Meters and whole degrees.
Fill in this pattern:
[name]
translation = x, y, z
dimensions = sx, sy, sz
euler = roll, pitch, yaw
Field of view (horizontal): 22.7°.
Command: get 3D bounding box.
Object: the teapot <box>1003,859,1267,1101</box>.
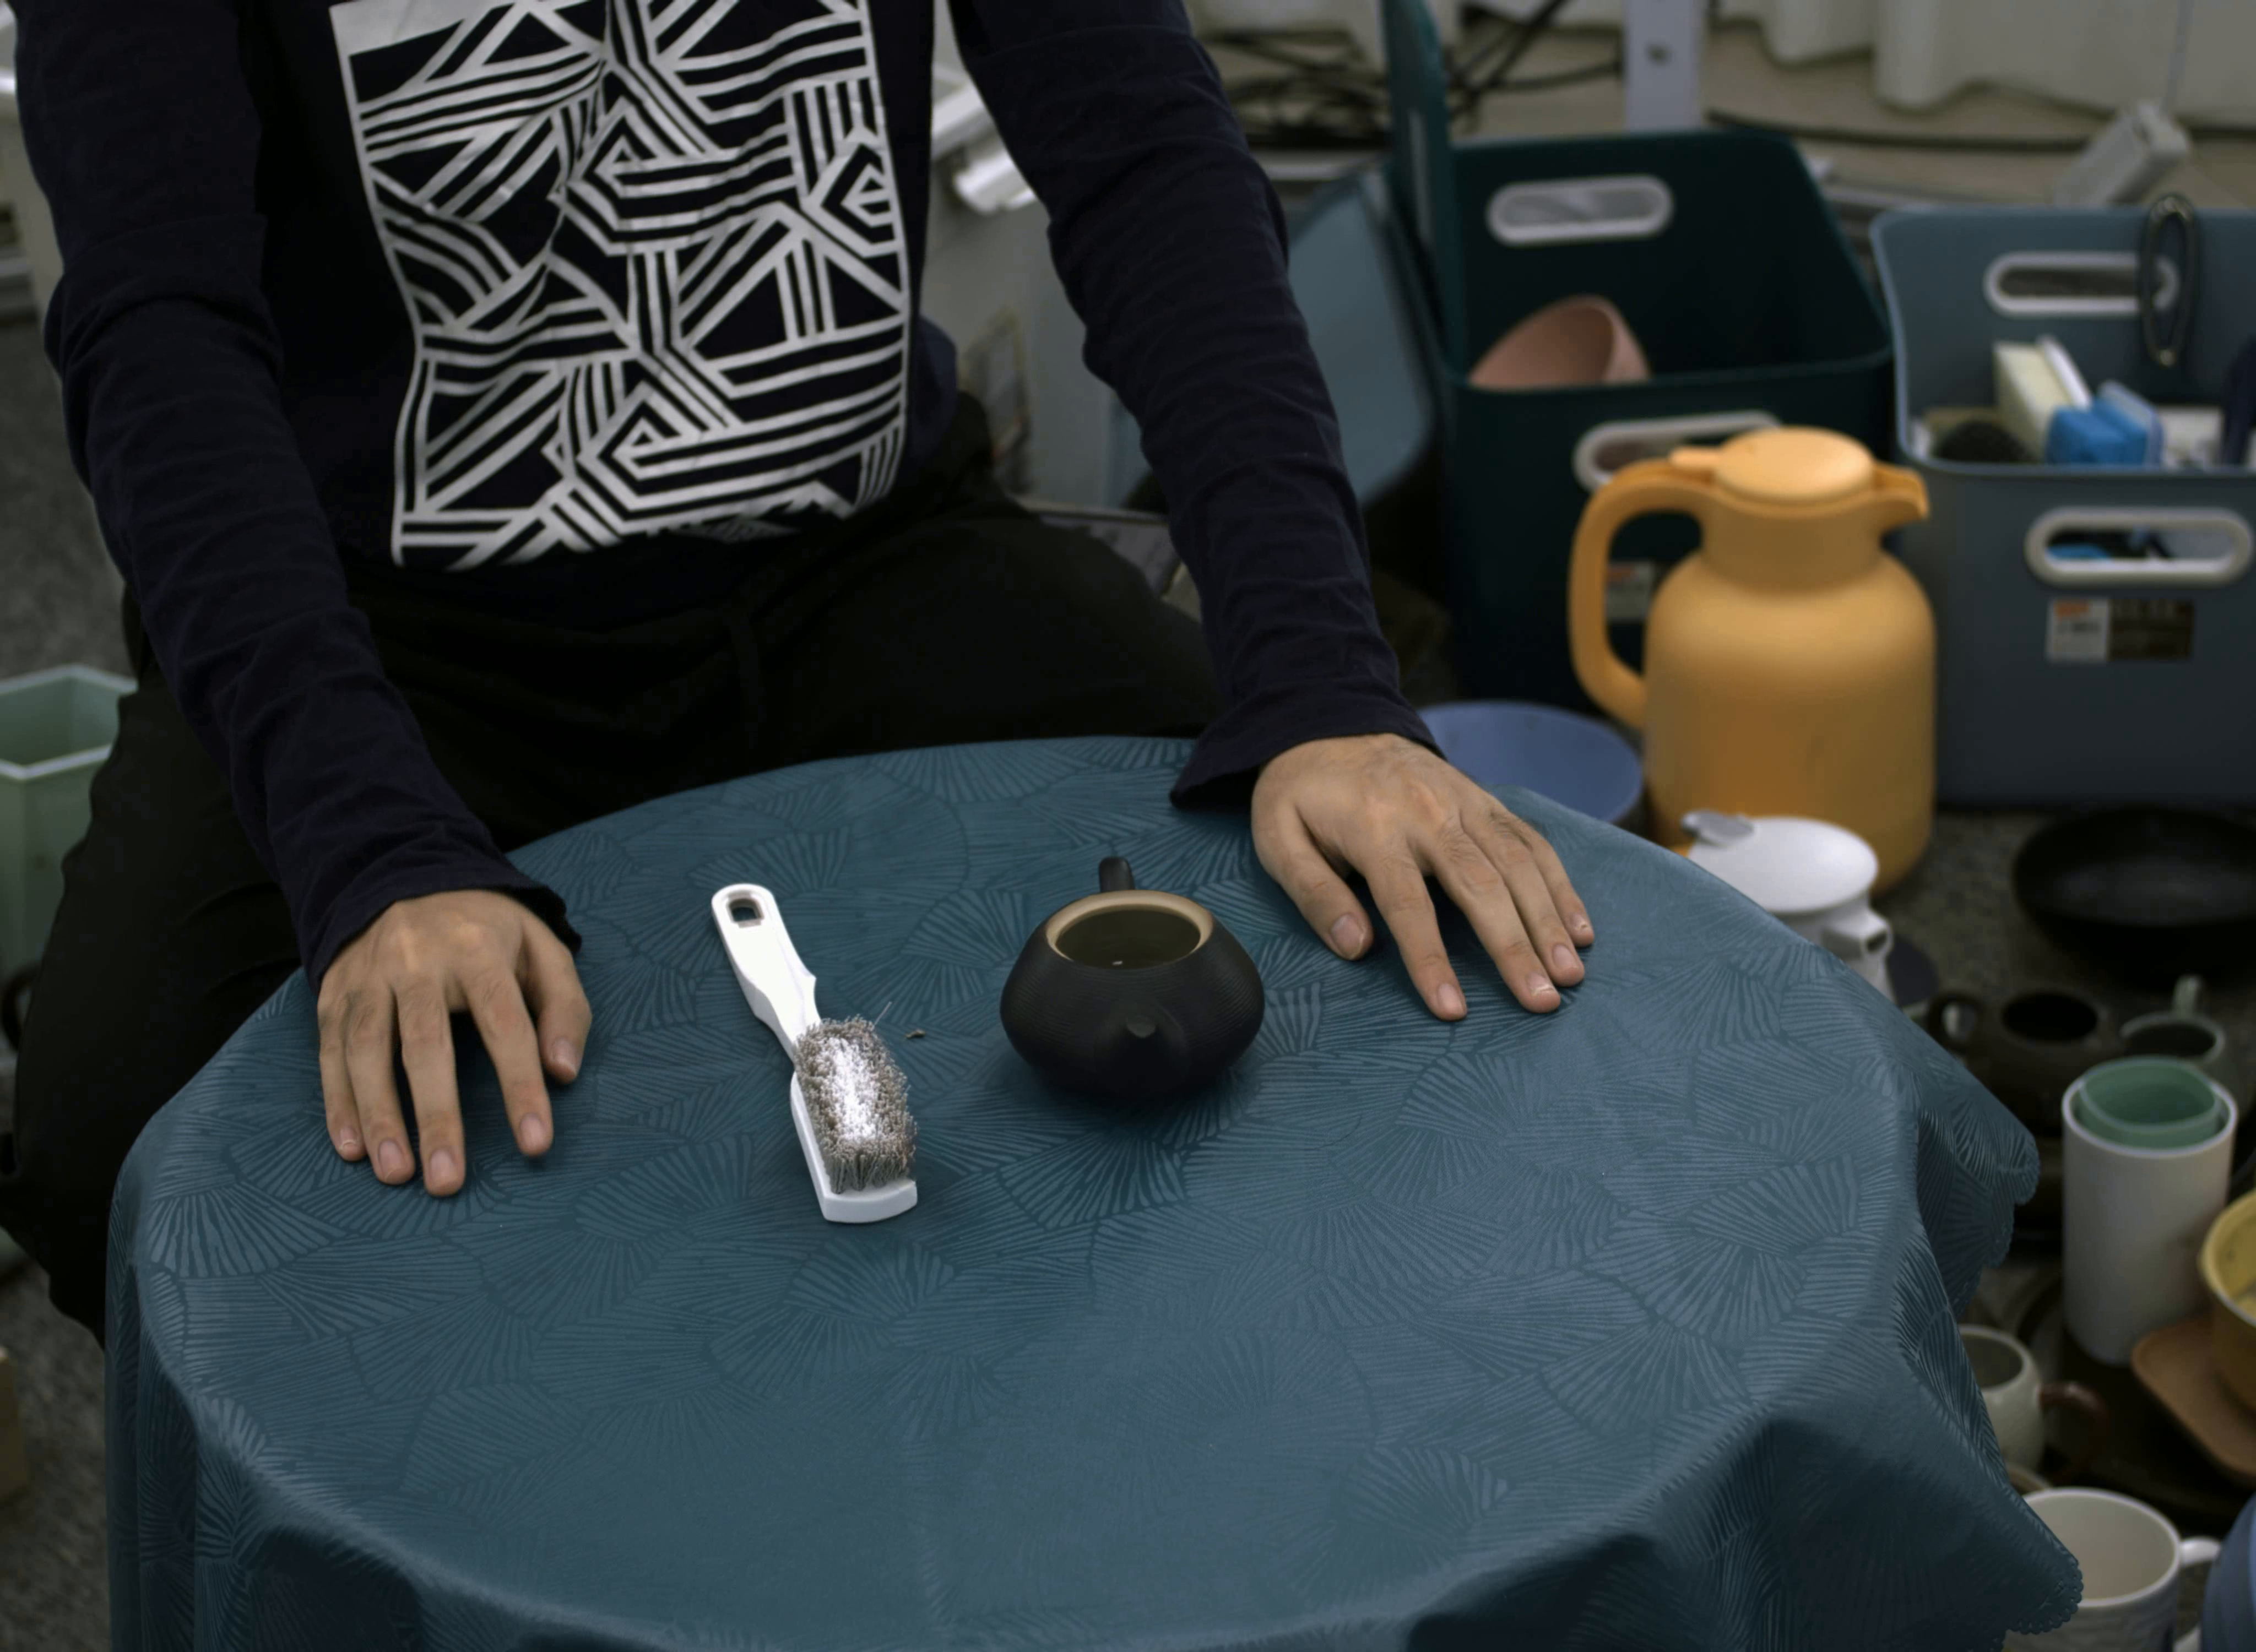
[teapot]
translation = 0.002, 0.058, 1.925
dimensions = 0.090, 0.052, 0.135
euler = -2, 27, -5

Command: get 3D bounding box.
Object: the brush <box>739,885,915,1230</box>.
[brush]
translation = -0.109, 0.062, 1.935
dimensions = 0.034, 0.050, 0.246
euler = -10, 28, -8
